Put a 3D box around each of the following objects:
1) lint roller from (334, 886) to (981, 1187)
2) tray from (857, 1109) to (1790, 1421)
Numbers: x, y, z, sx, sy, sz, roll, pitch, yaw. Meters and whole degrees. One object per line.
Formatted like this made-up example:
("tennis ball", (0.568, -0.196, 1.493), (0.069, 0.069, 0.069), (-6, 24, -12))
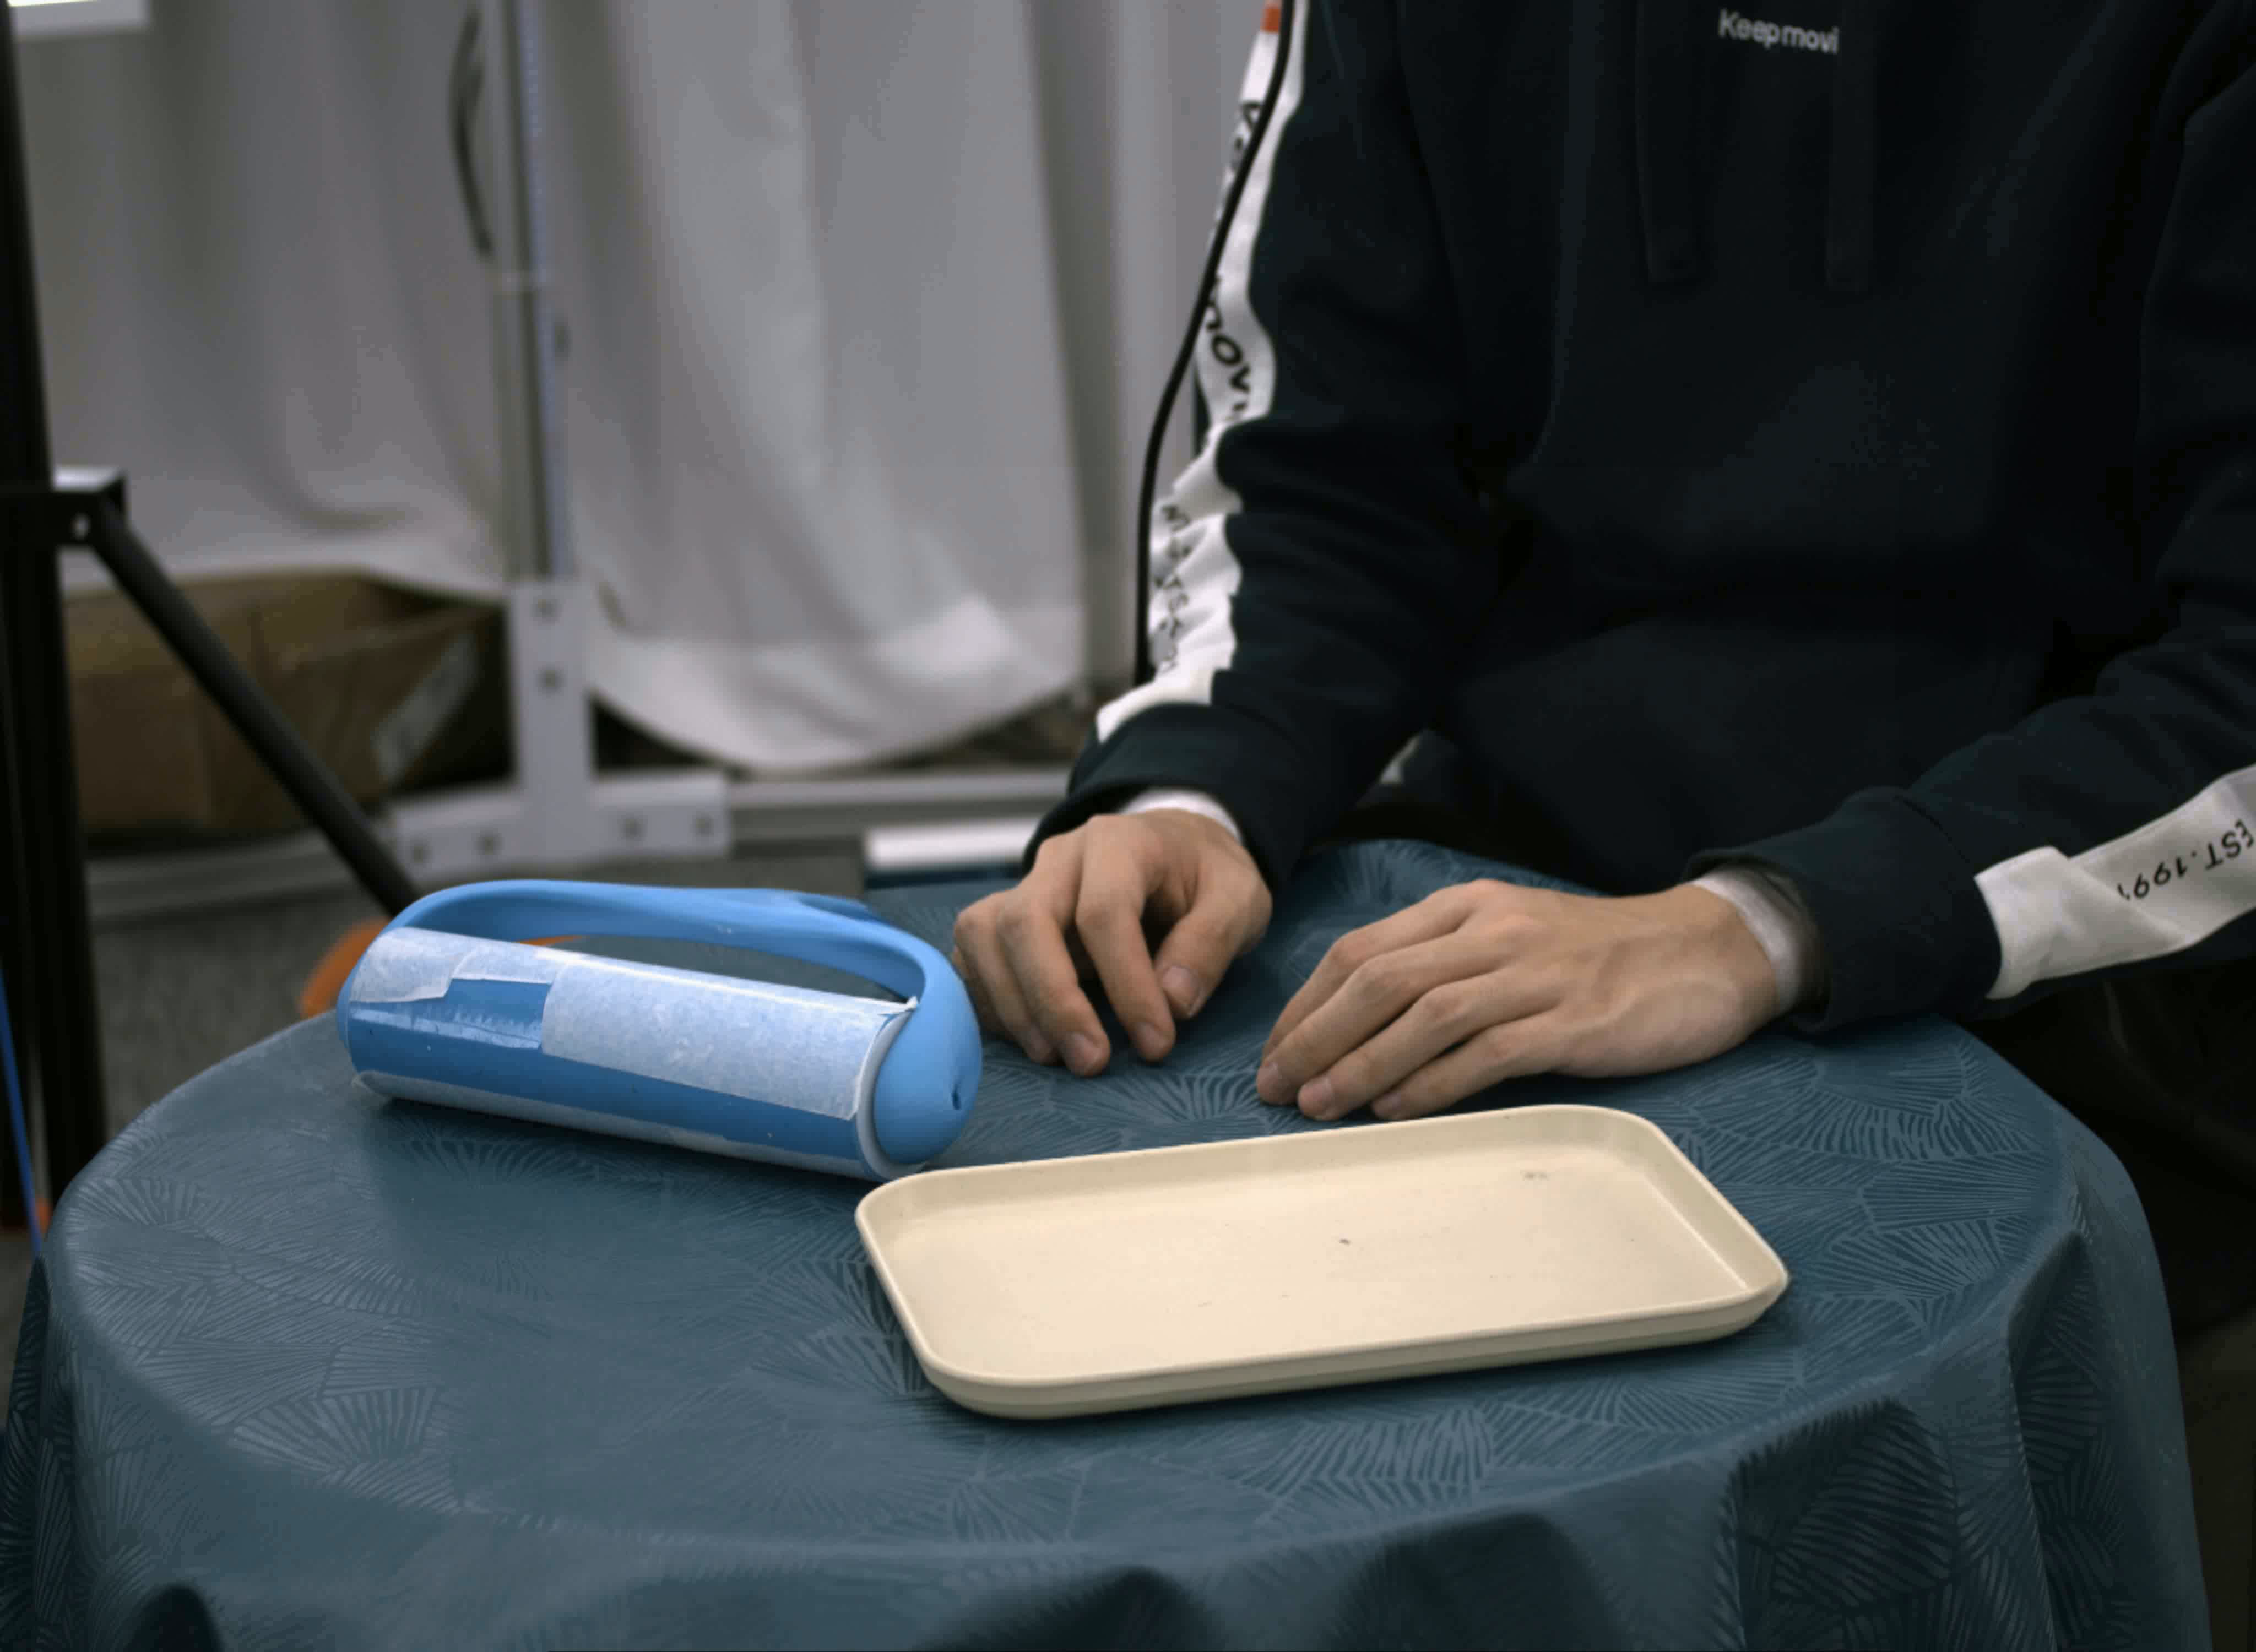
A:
("lint roller", (-0.119, 0.053, 1.669), (0.233, 0.068, 0.177), (5, 18, 30))
("tray", (0.052, 0.121, 1.469), (0.237, 0.017, 0.173), (-6, 16, -9))
